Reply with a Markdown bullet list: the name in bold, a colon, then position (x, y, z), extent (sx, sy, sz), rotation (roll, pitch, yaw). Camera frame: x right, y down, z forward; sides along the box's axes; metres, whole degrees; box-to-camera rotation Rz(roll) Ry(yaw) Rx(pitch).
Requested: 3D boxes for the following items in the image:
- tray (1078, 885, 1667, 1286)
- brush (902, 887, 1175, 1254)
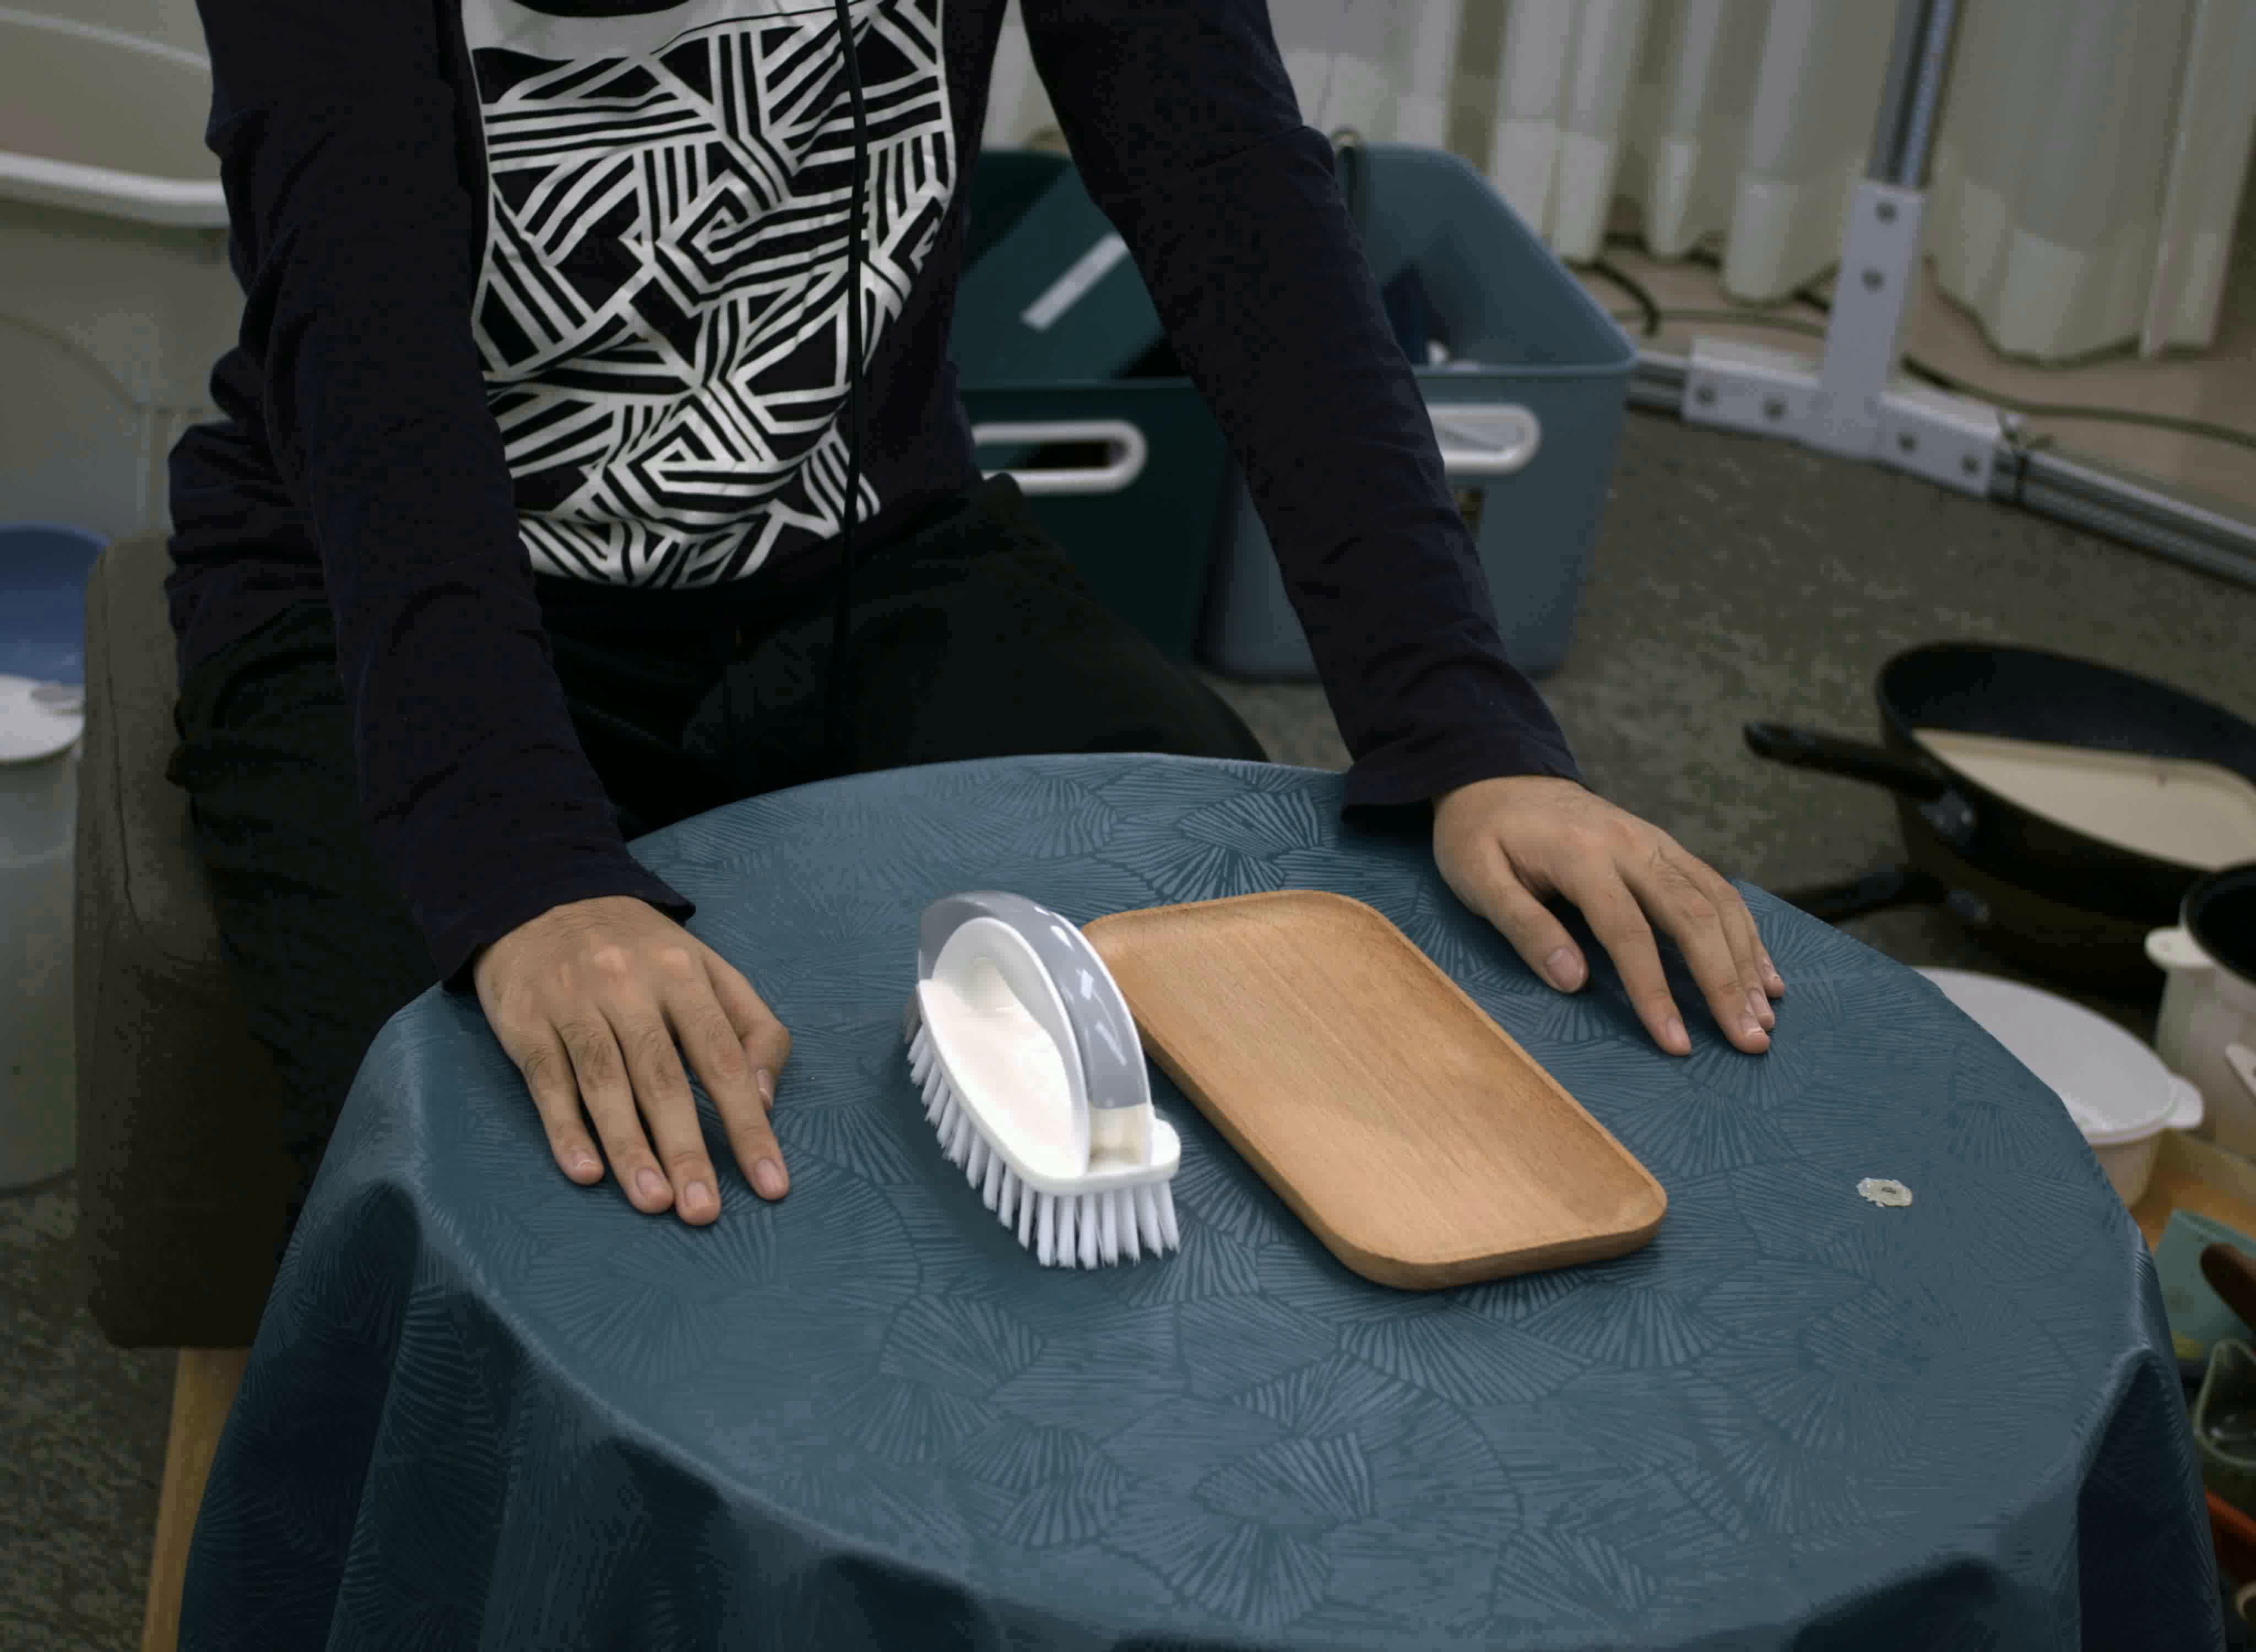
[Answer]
- **tray**: position (0.082, 0.089, 1.875), extent (0.129, 0.023, 0.253), rotation (-5, 28, -26)
- **brush**: position (-0.037, 0.067, 1.808), extent (0.061, 0.094, 0.177), rotation (-4, 27, -24)
